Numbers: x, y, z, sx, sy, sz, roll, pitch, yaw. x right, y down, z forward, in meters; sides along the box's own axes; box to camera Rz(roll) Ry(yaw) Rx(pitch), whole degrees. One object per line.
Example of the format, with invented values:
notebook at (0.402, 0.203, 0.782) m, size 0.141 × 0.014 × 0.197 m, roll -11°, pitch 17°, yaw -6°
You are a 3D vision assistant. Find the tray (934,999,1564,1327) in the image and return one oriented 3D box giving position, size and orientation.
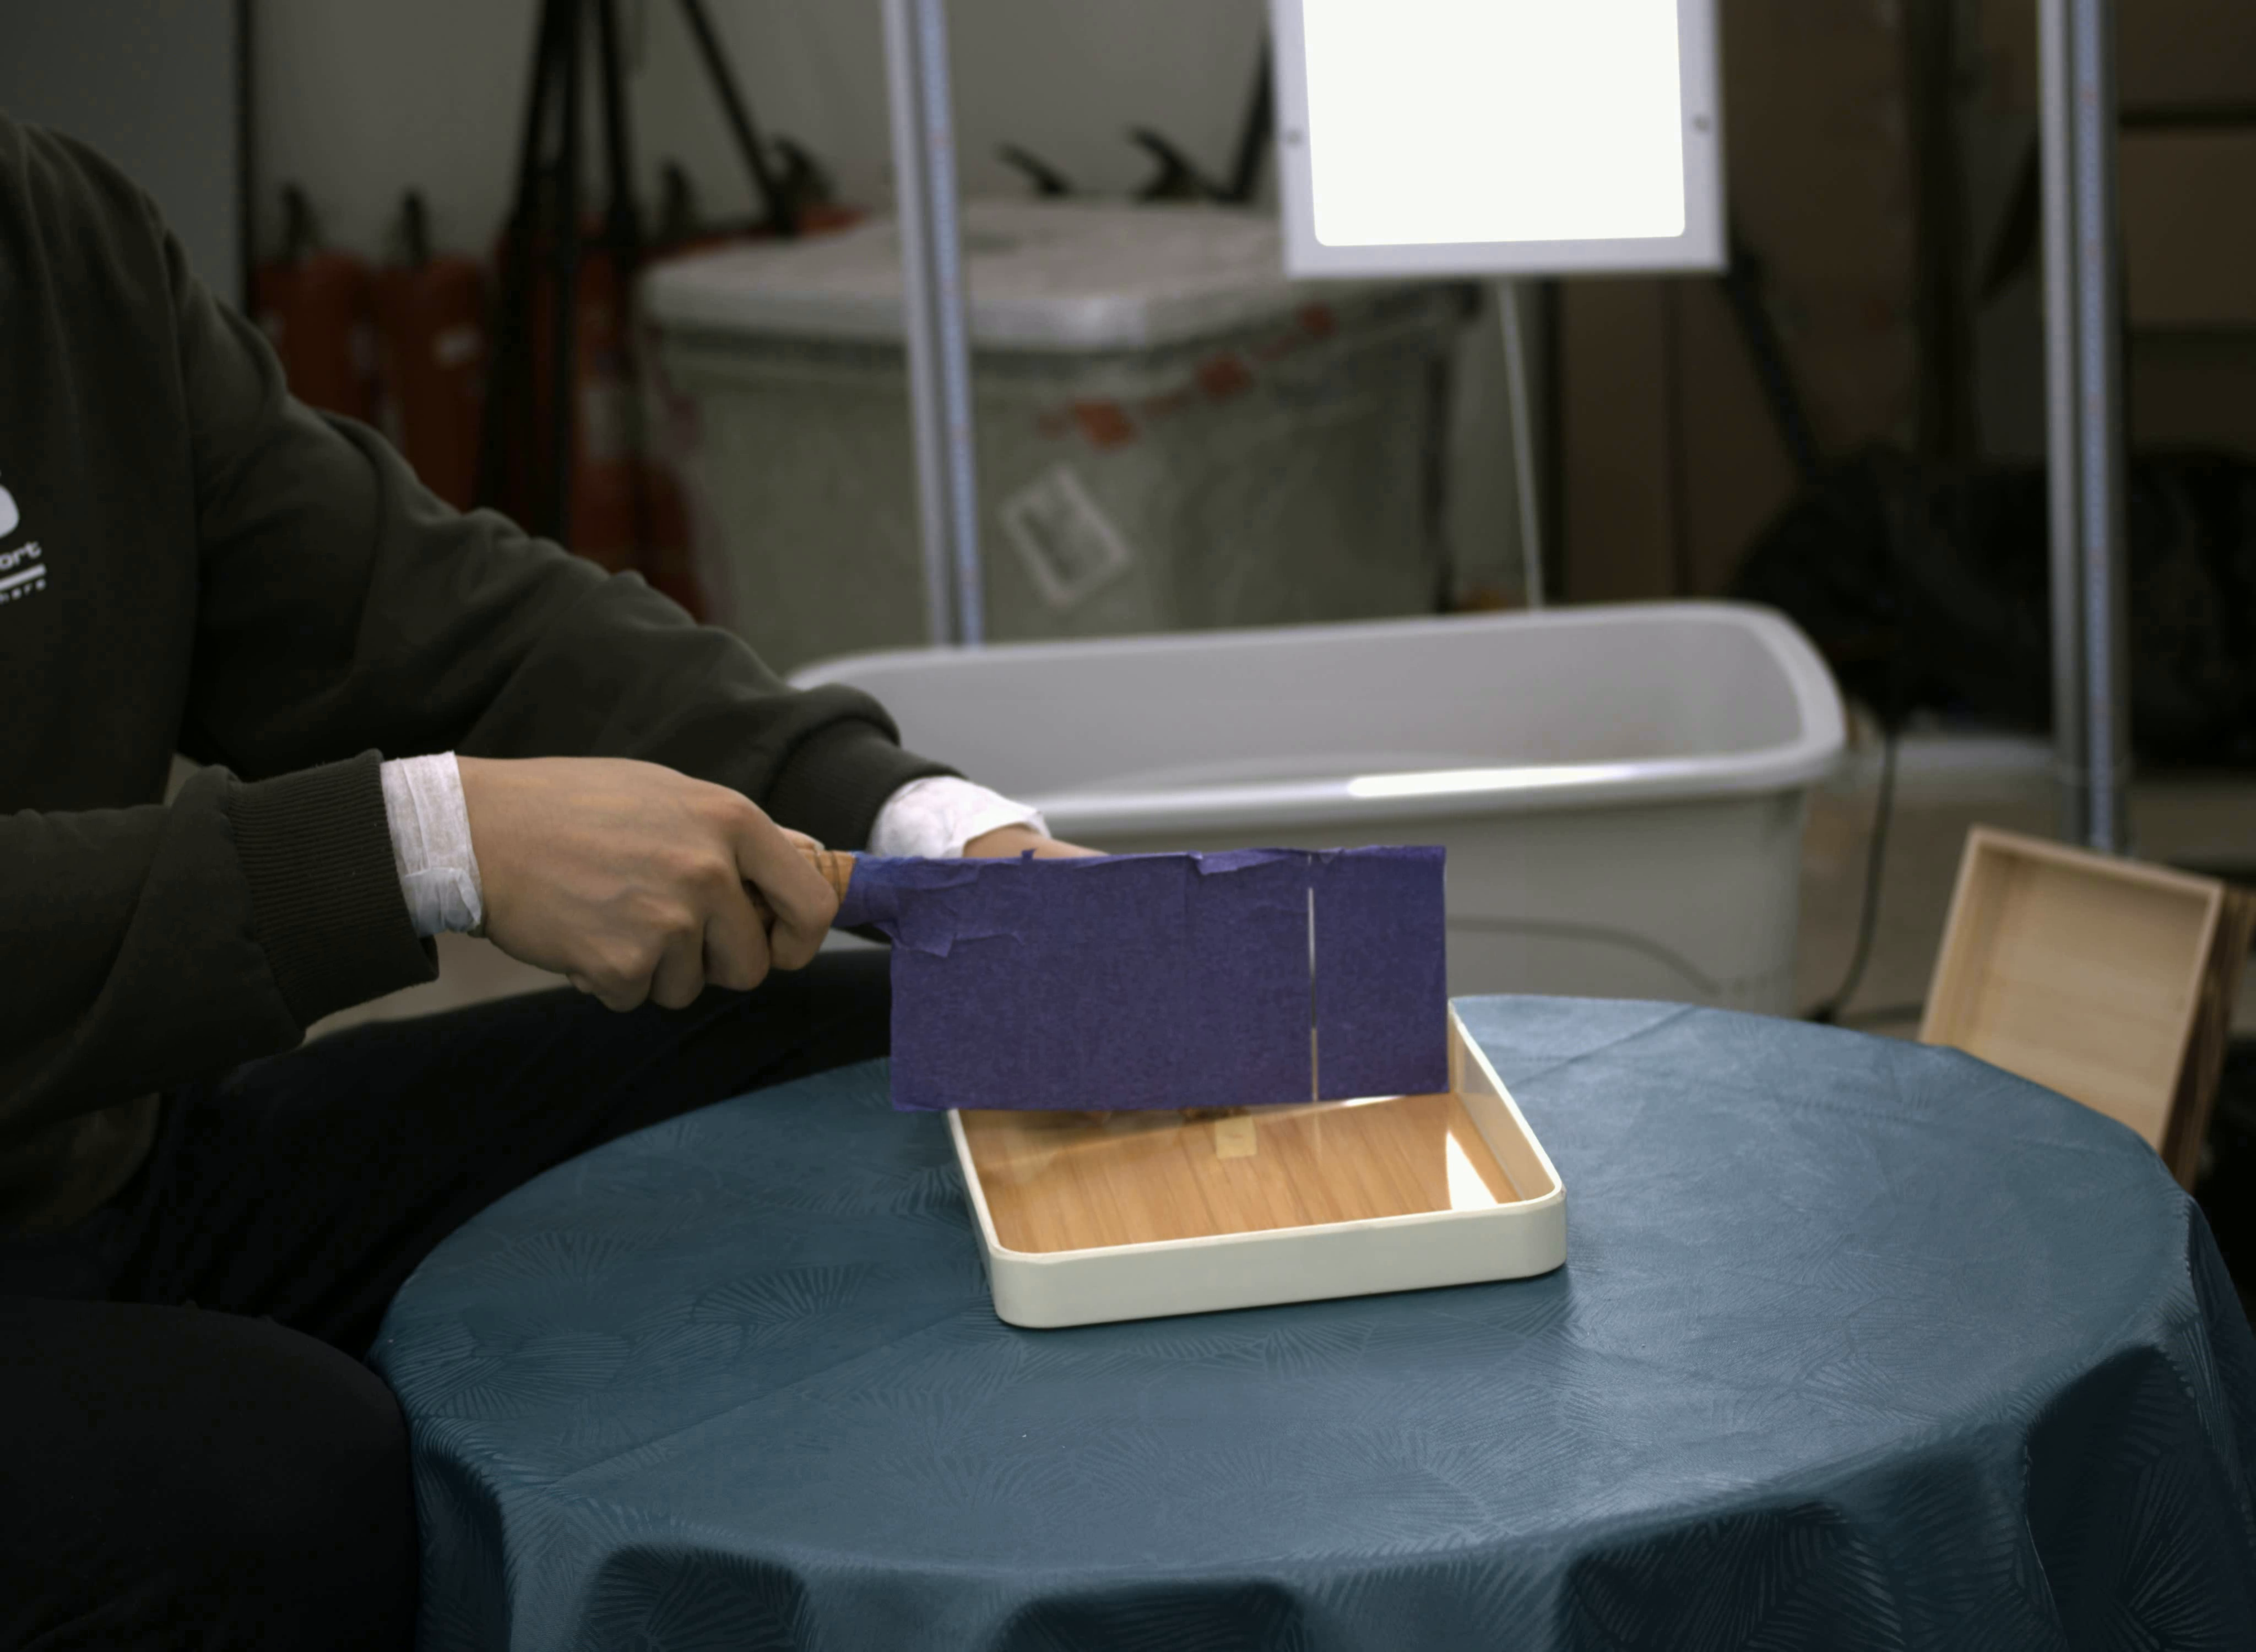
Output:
tray at (0.034, 0.108, 1.909) m, size 0.190 × 0.027 × 0.301 m, roll -6°, pitch 14°, yaw -4°

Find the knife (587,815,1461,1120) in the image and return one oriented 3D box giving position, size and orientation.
knife at (-0.031, 0.053, 1.926) m, size 0.311 × 0.104 × 0.032 m, roll -2°, pitch 4°, yaw -12°
